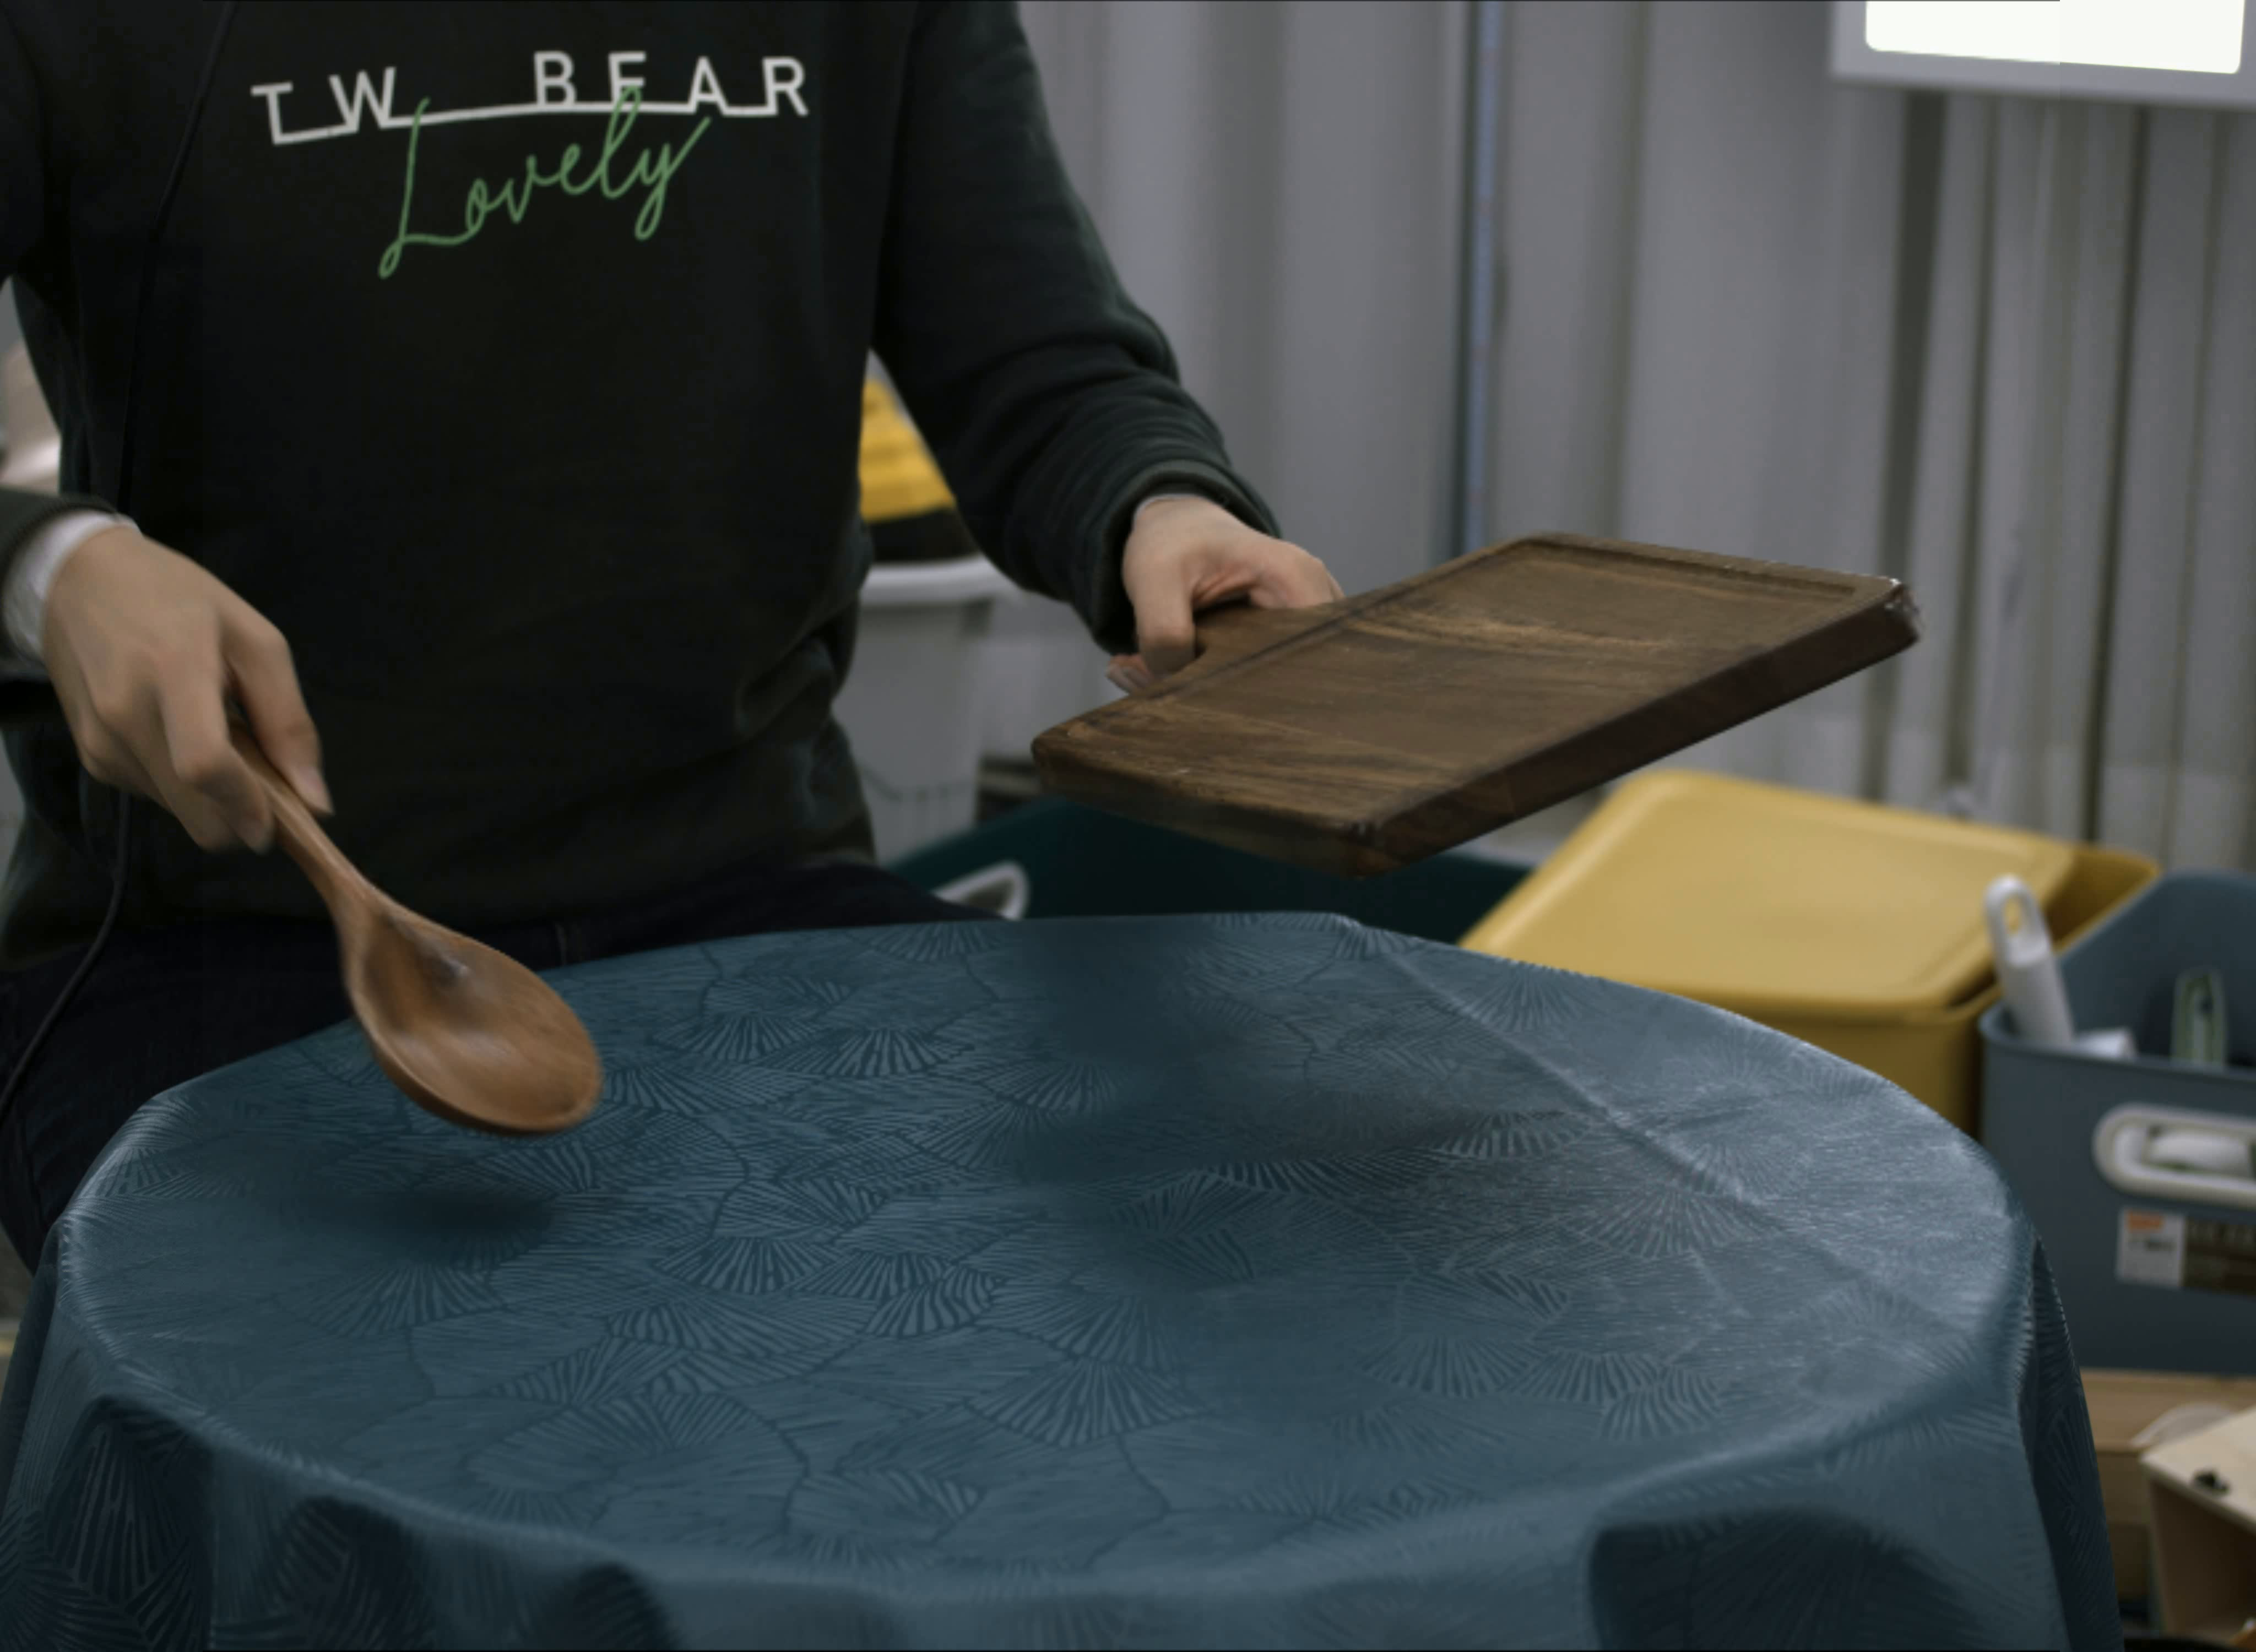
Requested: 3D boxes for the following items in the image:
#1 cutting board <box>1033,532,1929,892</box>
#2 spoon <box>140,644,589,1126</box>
[{"bbox_3d":[0.083,-0.045,1.662,0.201,0.023,0.349,-24,15,-19],"label":"cutting board"},{"bbox_3d":[-0.242,0.019,1.622,0.076,0.017,0.213,-13,53,-46],"label":"spoon"}]
